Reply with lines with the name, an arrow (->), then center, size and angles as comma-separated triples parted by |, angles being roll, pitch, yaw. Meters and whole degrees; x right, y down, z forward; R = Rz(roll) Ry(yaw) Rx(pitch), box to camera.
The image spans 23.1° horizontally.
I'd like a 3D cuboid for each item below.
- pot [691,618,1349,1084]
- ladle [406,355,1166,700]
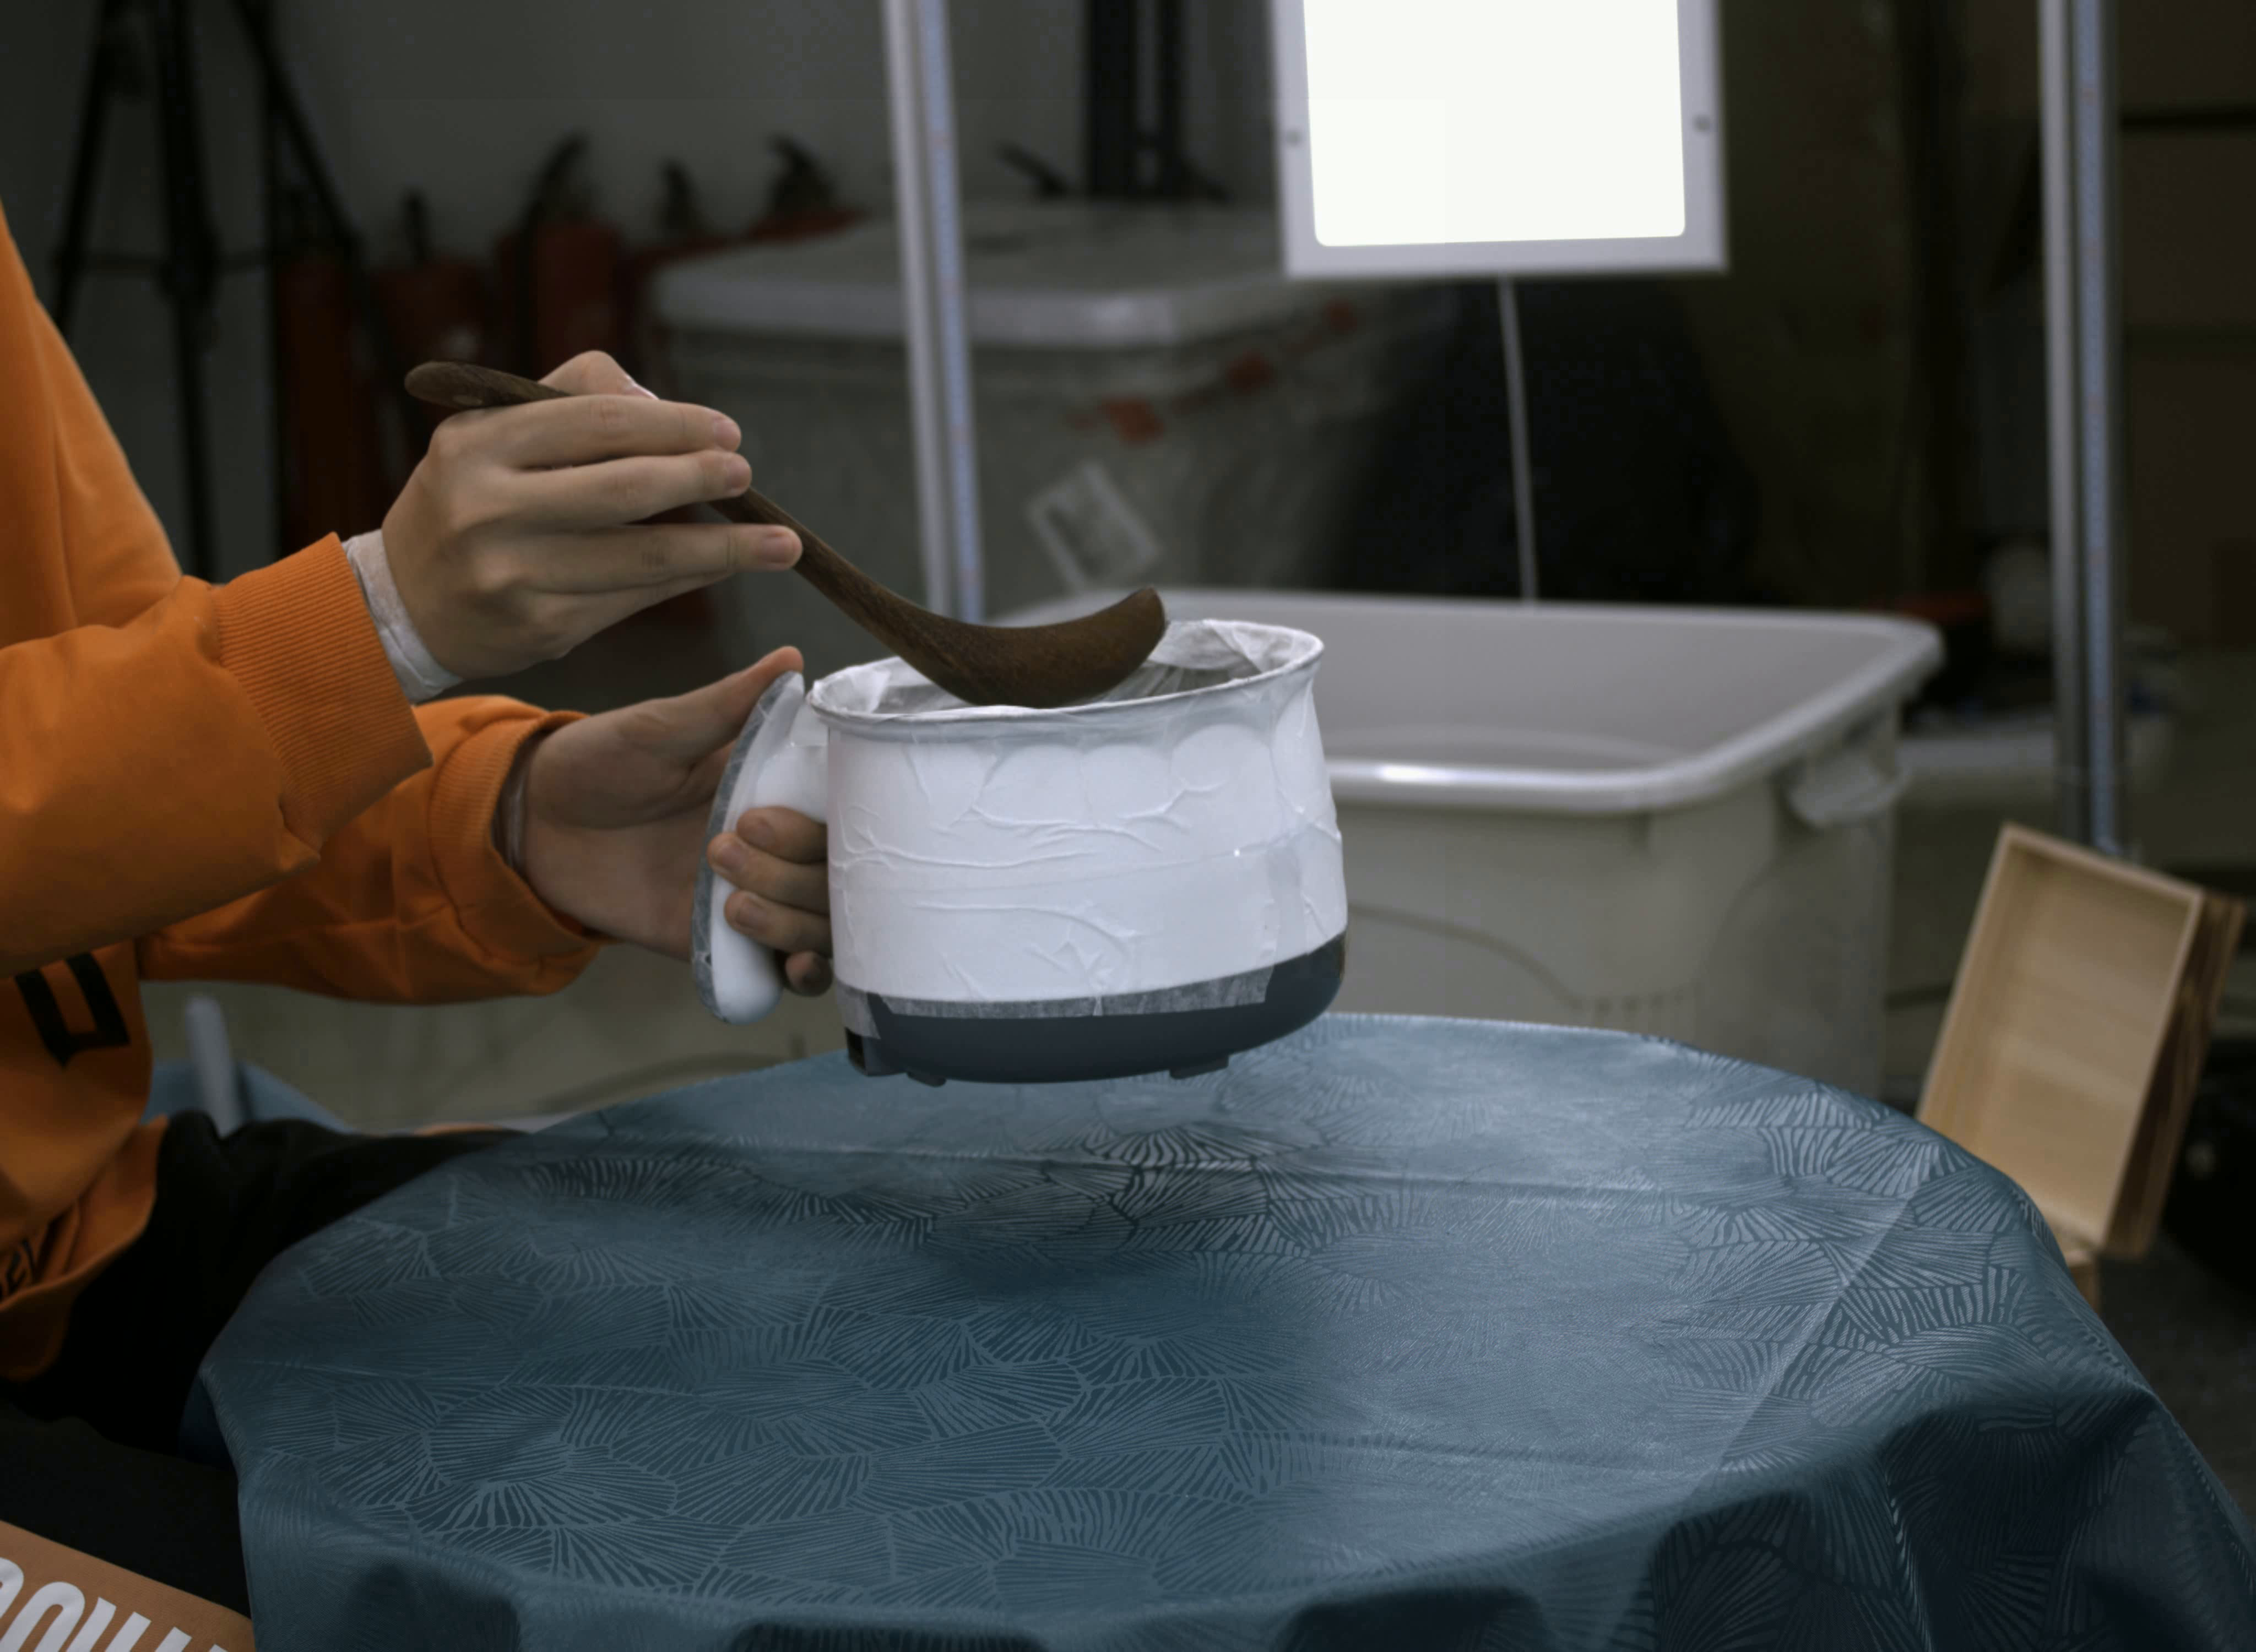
pot -> -0.042, 0.010, 1.884 | 0.236, 0.137, 0.176 | -4, 10, 17
ladle -> -0.111, -0.113, 1.857 | 0.271, 0.071, 0.077 | 29, -27, -17
